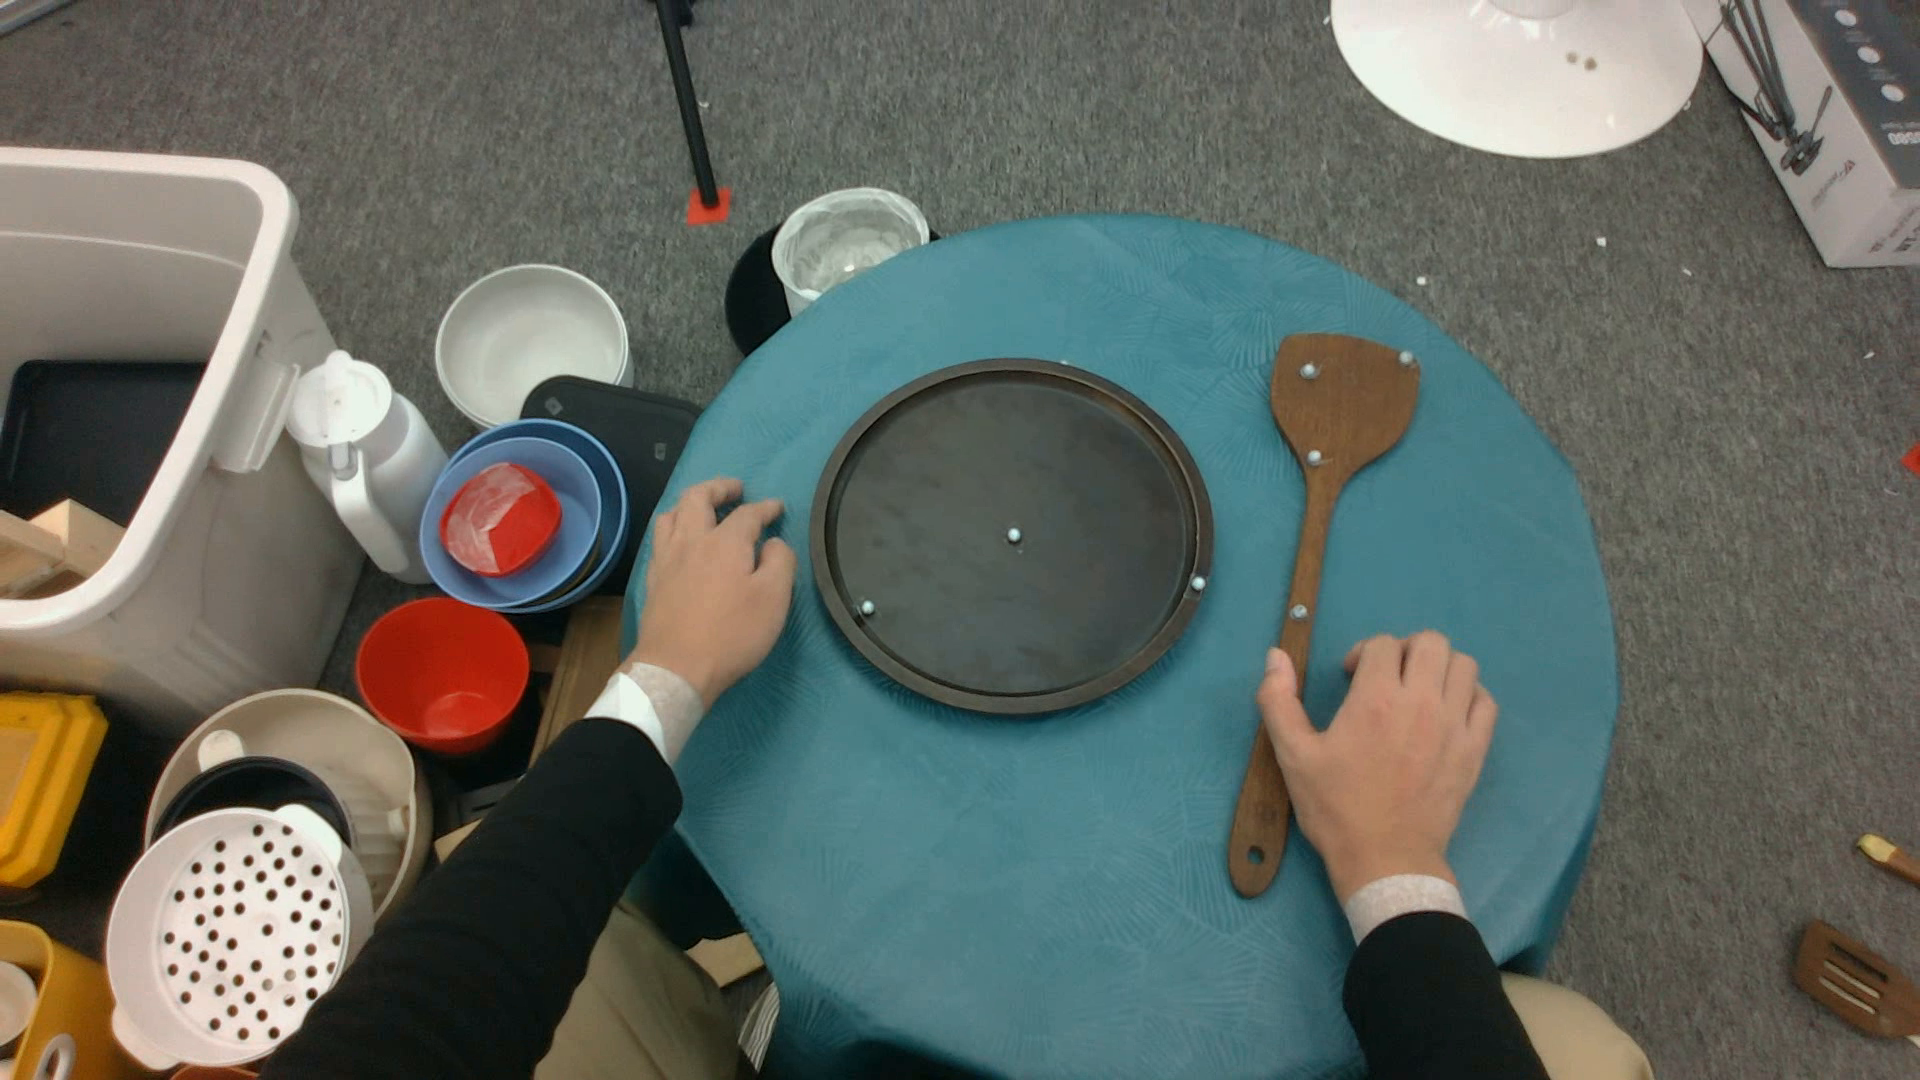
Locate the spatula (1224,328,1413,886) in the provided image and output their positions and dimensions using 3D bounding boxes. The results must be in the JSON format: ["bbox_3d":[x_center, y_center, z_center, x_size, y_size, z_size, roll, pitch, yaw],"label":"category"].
[{"bbox_3d":[0.208,0.024,0.842,0.096,0.016,0.387,13,62,9],"label":"spatula"}]

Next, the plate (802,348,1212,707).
[{"bbox_3d":[0.029,-0.013,0.859,0.255,0.029,0.256,0,61,-1],"label":"plate"}]
